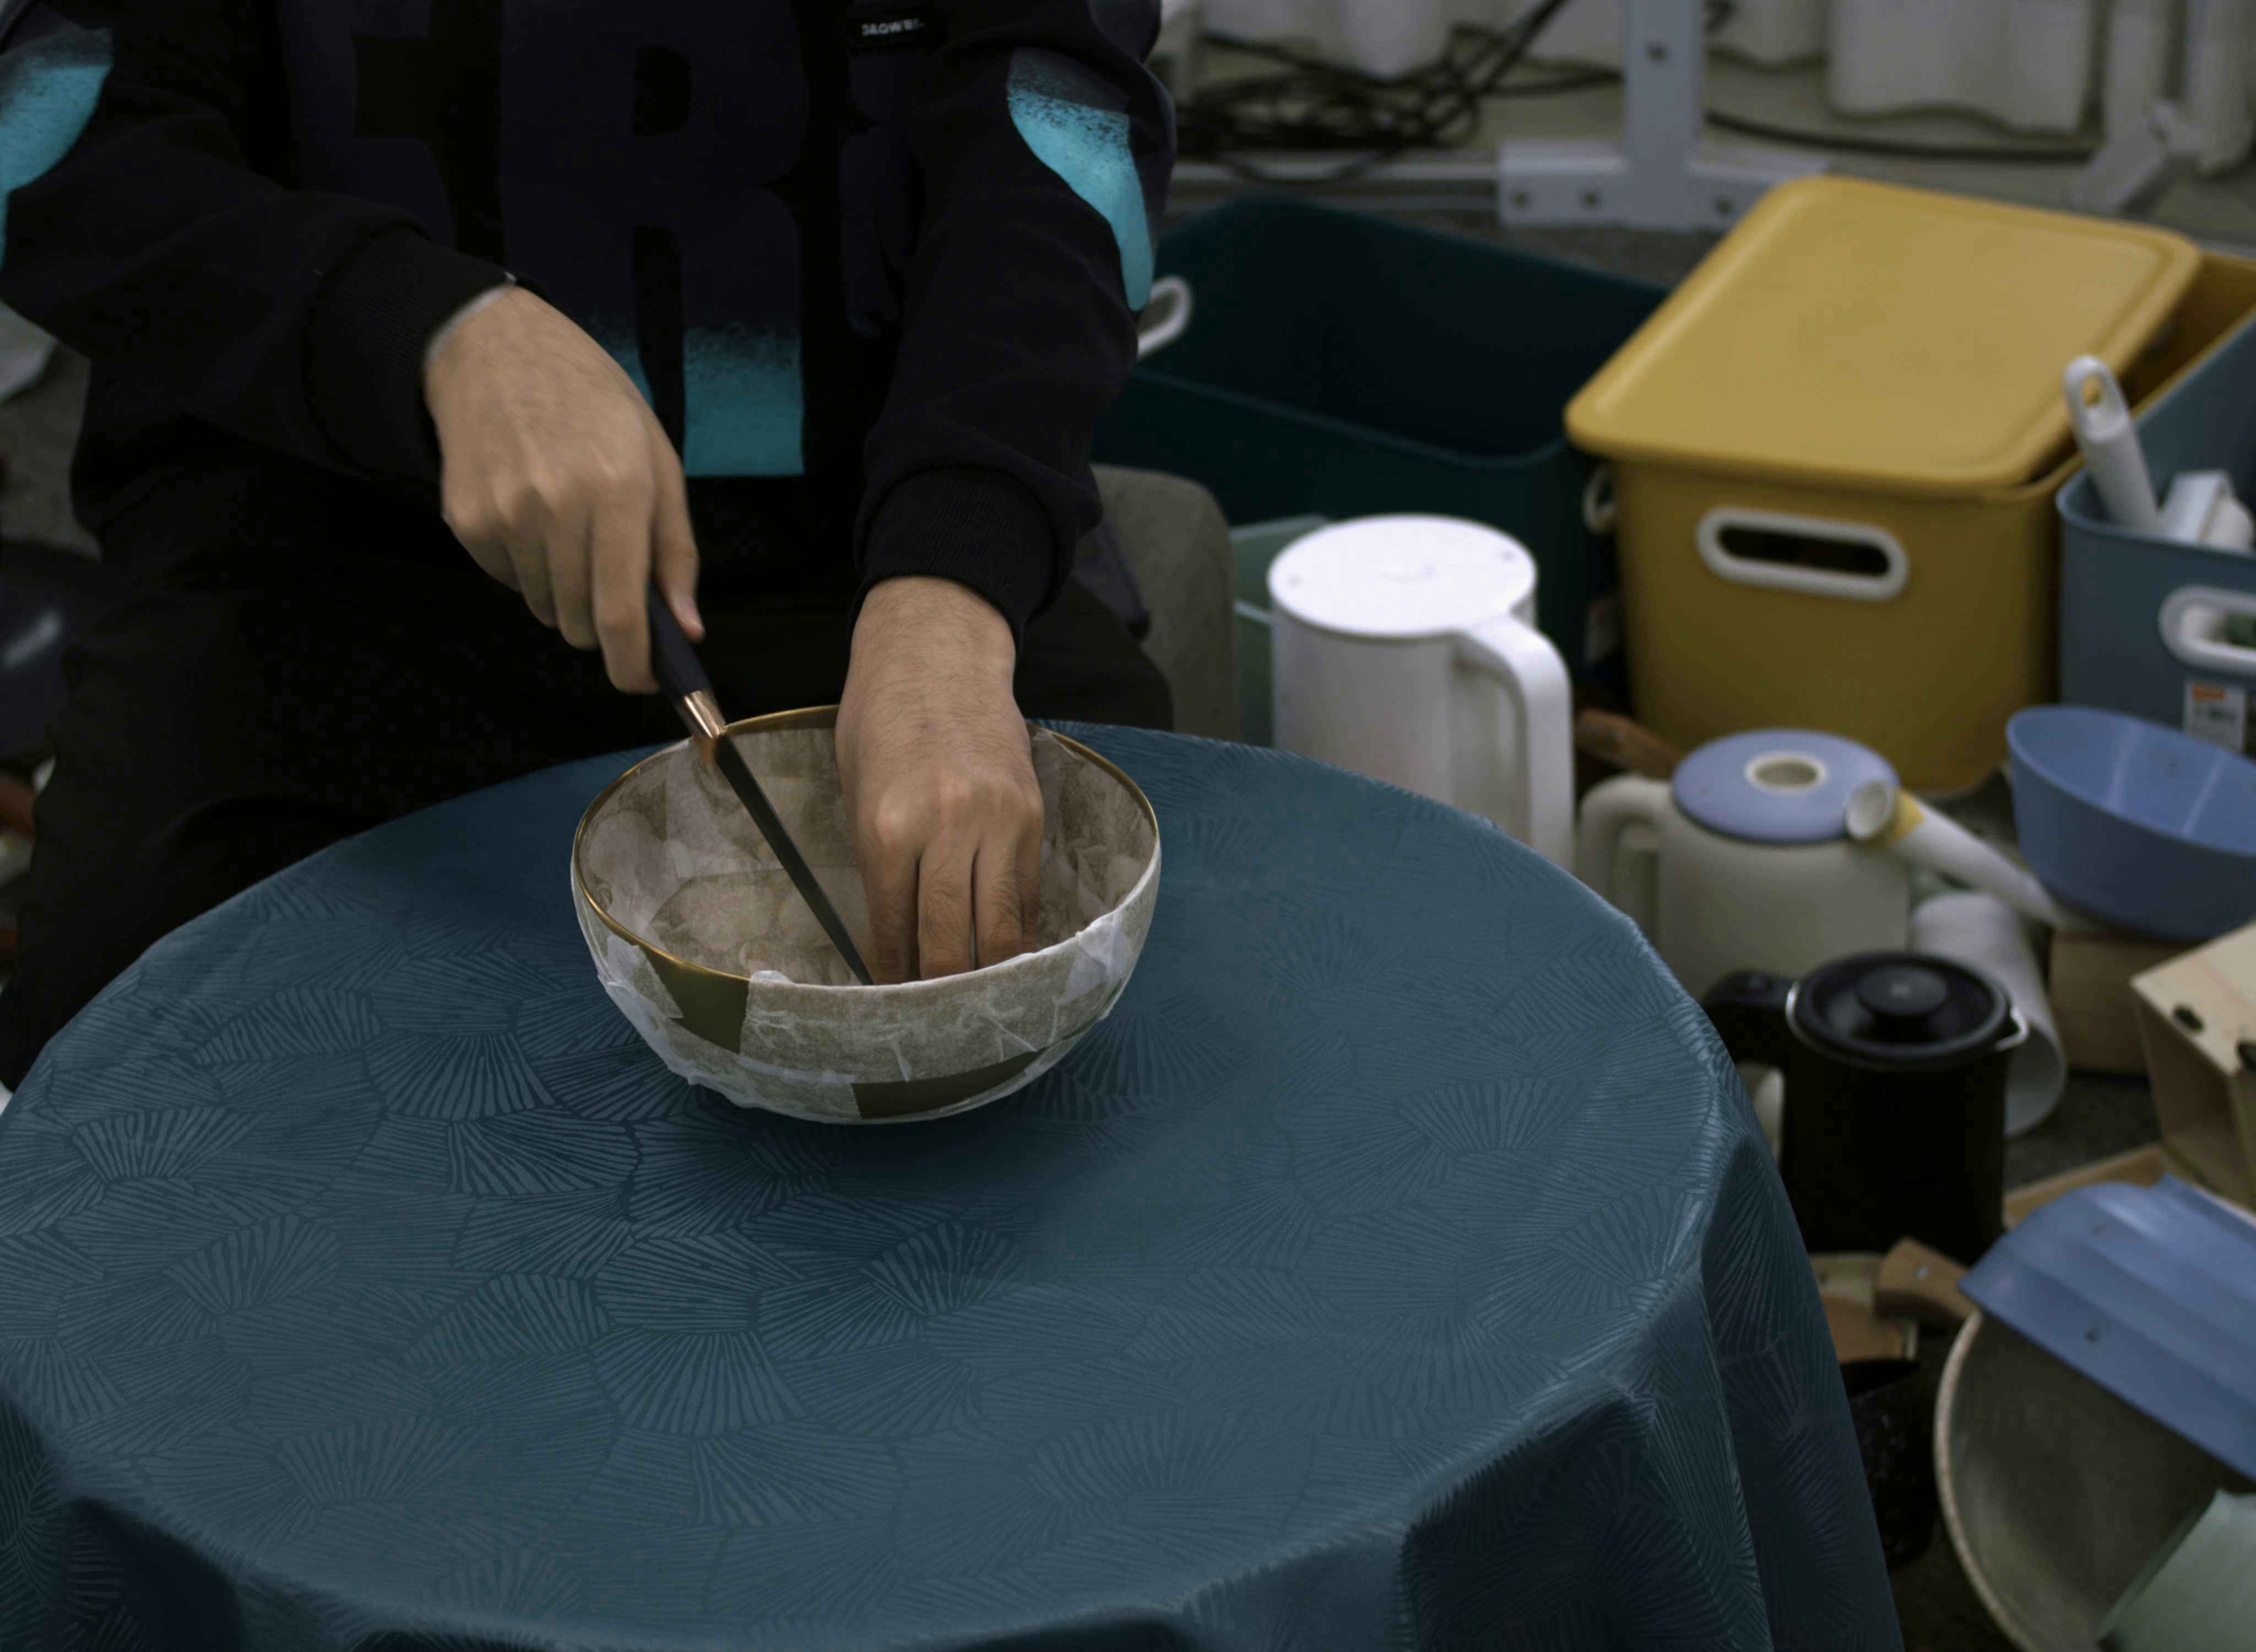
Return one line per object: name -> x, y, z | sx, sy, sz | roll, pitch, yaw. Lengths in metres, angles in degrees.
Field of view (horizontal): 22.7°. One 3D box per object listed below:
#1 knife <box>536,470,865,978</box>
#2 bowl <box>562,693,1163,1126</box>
knife -> -0.141, -0.029, 1.920 | 0.017, 0.026, 0.227 | -24, 70, -28
bowl -> -0.087, 0.040, 1.924 | 0.213, 0.093, 0.218 | -1, 28, 1
